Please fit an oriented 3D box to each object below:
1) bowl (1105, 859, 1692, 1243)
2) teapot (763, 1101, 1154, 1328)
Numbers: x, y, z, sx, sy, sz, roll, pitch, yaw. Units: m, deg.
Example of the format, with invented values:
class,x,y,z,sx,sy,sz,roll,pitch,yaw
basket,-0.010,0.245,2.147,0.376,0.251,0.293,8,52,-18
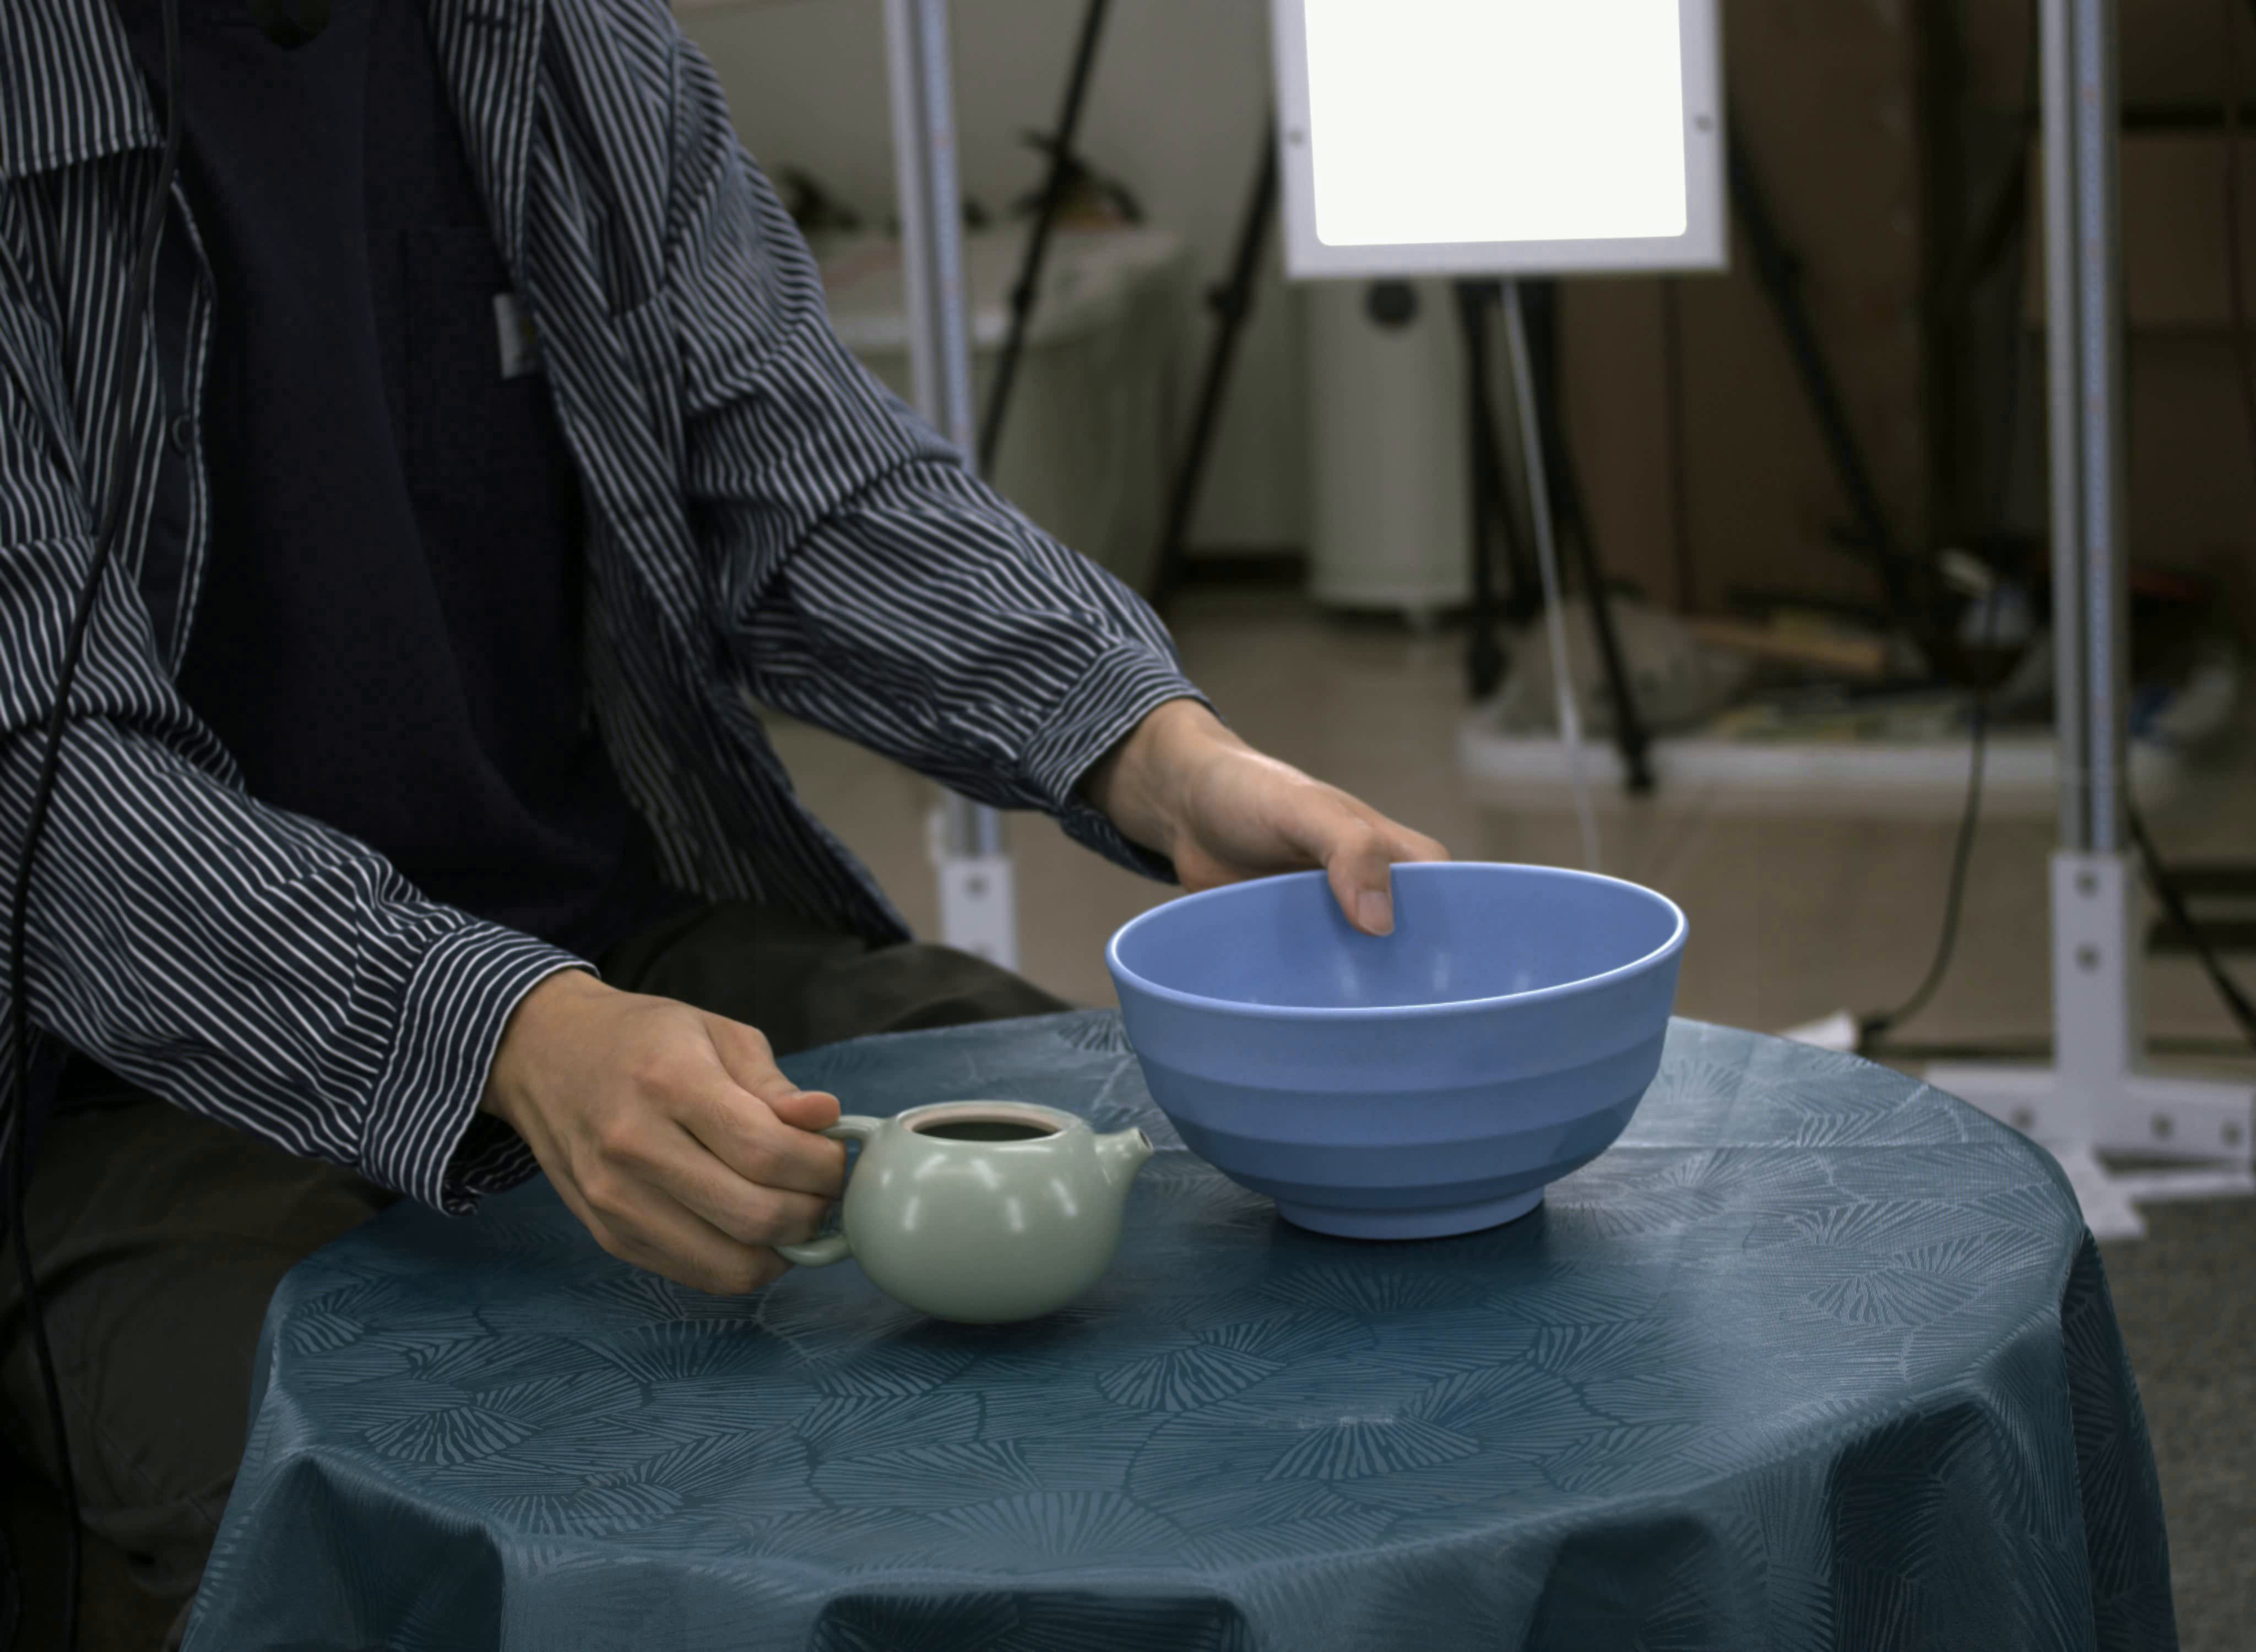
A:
class,x,y,z,sx,sy,sz,roll,pitch,yaw
bowl,0.093,0.081,1.843,0.196,0.096,0.196,-5,14,0
teapot,-0.055,0.124,1.767,0.129,0.061,0.090,2,11,13
